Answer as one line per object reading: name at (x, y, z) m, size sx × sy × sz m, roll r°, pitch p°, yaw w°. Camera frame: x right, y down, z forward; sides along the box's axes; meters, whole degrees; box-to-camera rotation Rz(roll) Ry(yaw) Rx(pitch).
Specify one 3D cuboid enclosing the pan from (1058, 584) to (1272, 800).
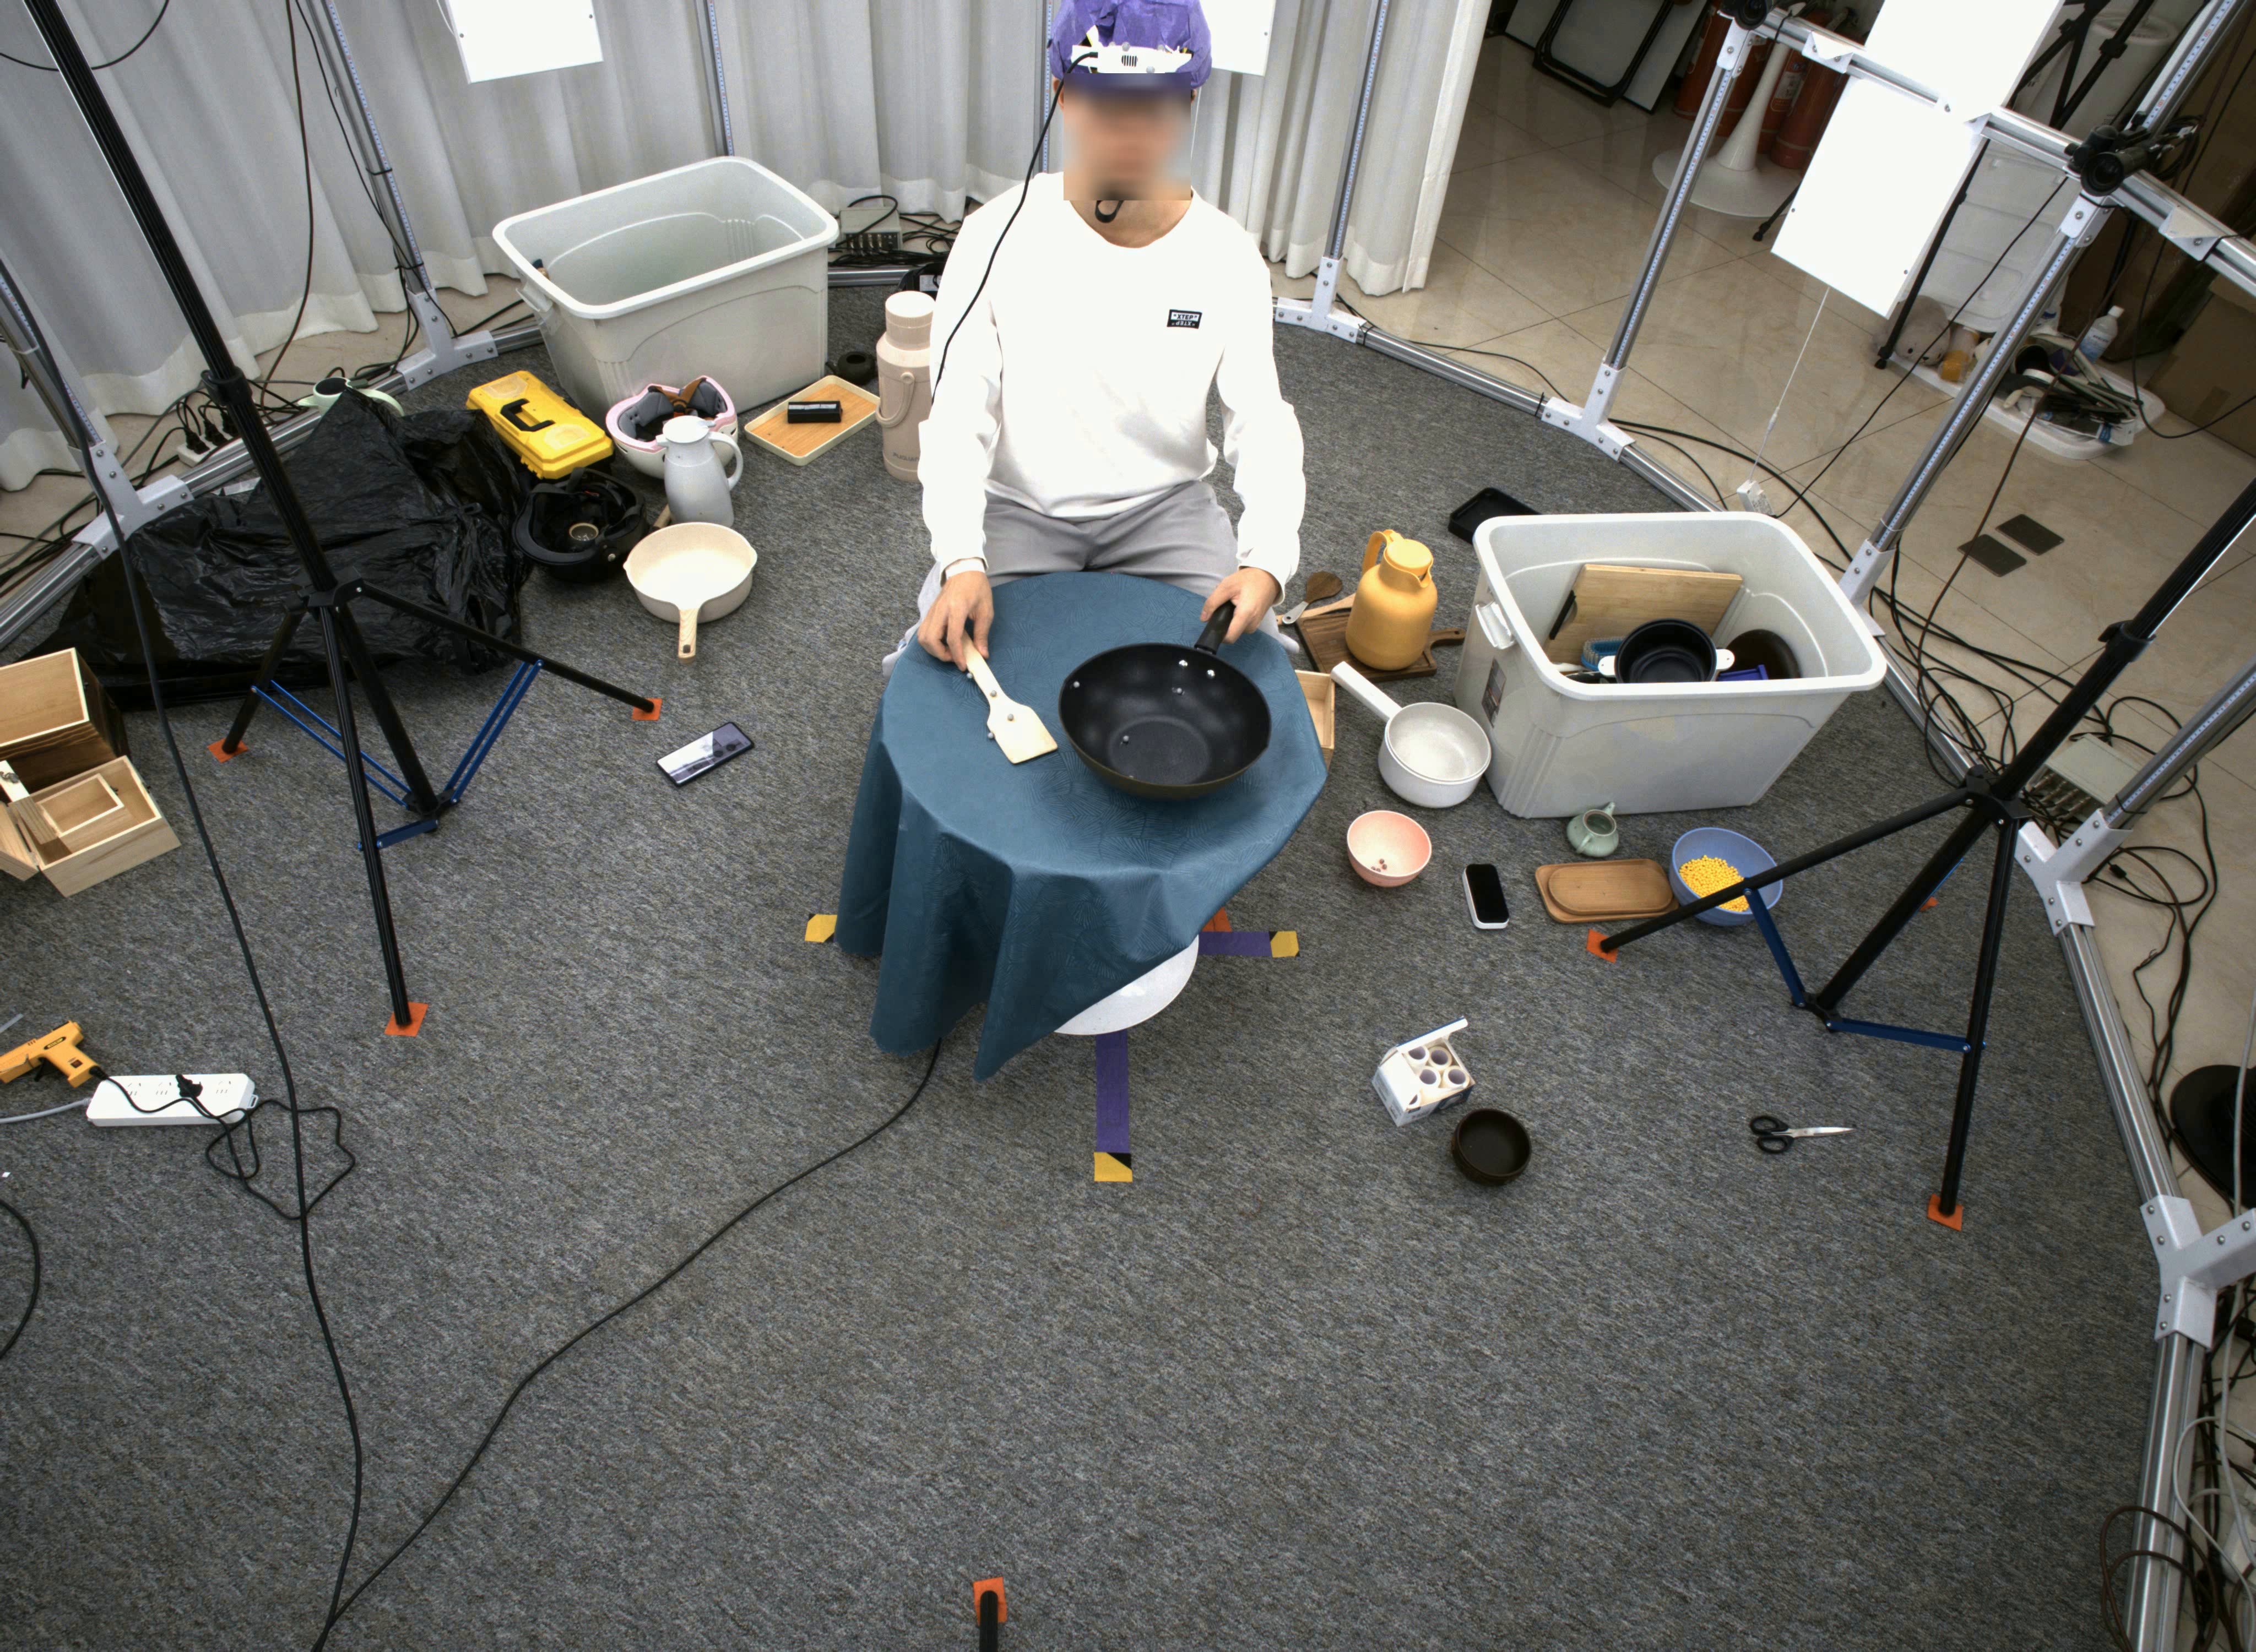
pan at (0.081, -0.186, 1.768) m, size 0.289 × 0.085 × 0.472 m, roll 20°, pitch 46°, yaw 13°

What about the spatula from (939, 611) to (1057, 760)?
spatula at (-0.197, -0.204, 1.810) m, size 0.072 × 0.010 × 0.299 m, roll -23°, pitch 58°, yaw -18°
